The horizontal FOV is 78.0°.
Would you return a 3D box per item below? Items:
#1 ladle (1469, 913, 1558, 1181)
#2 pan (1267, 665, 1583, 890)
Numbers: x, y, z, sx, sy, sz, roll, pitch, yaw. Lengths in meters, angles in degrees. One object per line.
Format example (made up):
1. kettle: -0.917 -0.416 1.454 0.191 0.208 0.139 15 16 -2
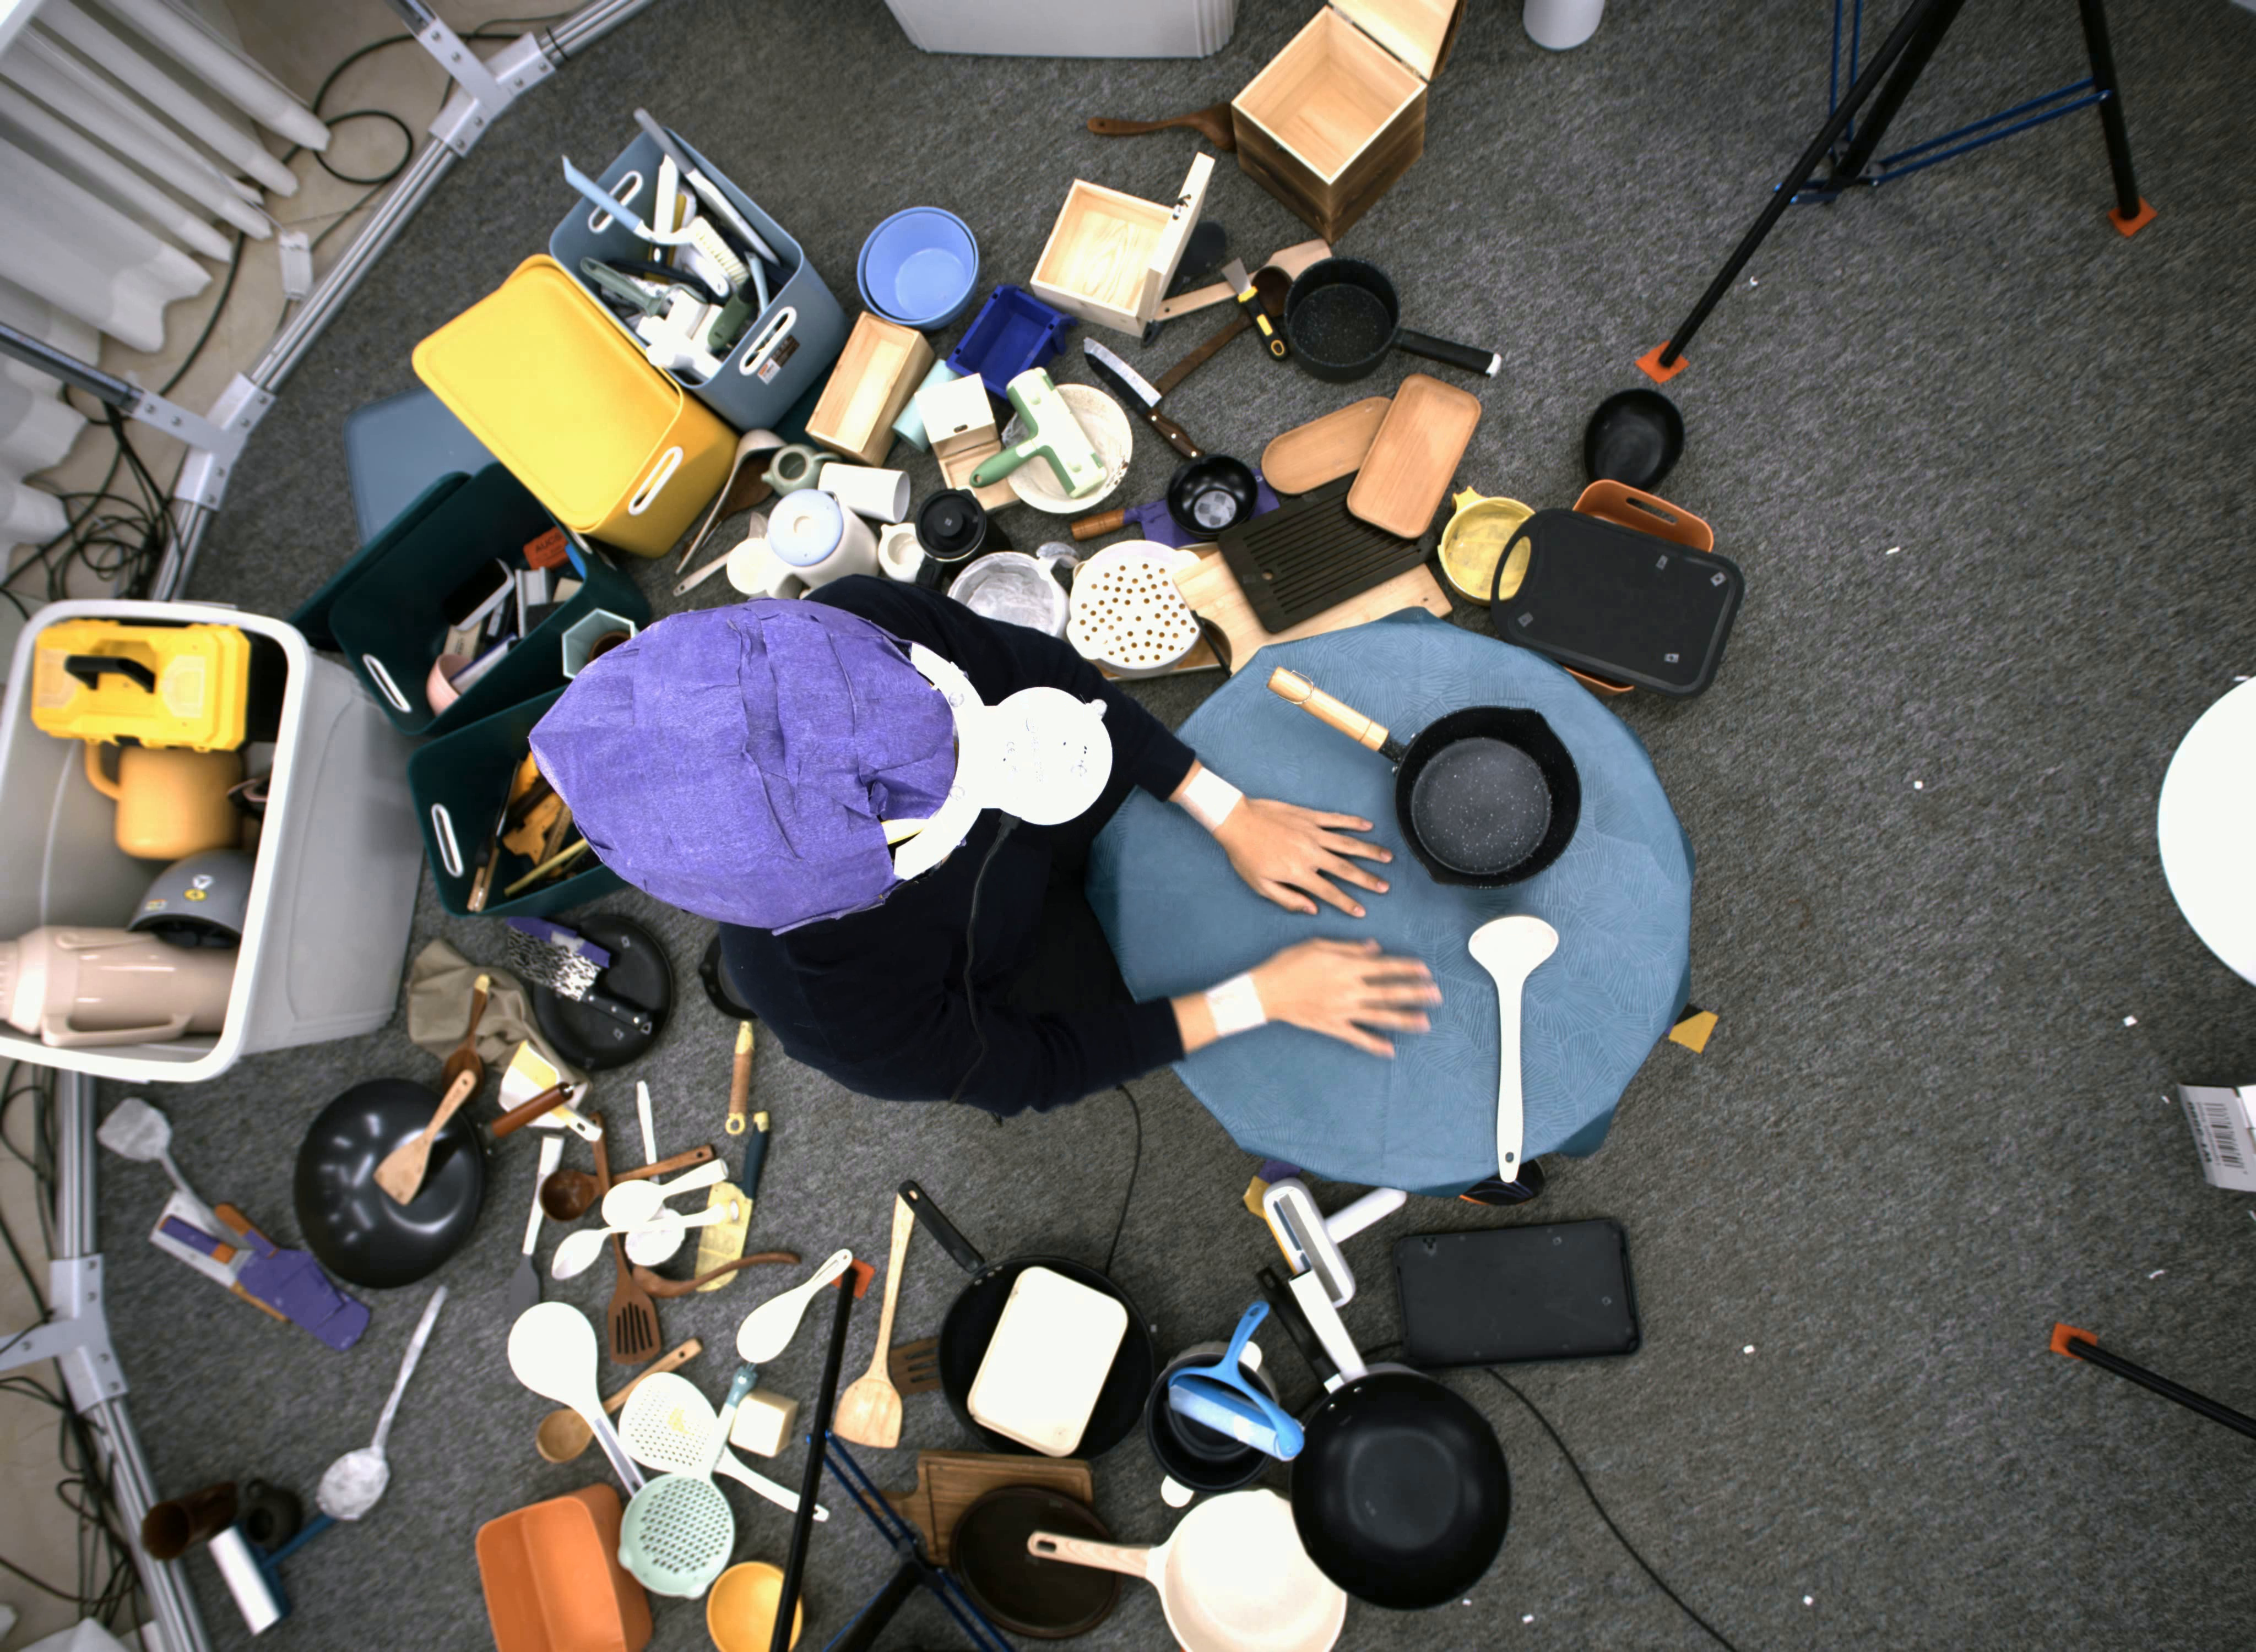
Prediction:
1. ladle: 0.393 0.224 1.396 0.089 0.069 0.274 0 88 -2
2. pan: 0.294 -0.066 1.408 0.342 0.108 0.208 29 93 9
